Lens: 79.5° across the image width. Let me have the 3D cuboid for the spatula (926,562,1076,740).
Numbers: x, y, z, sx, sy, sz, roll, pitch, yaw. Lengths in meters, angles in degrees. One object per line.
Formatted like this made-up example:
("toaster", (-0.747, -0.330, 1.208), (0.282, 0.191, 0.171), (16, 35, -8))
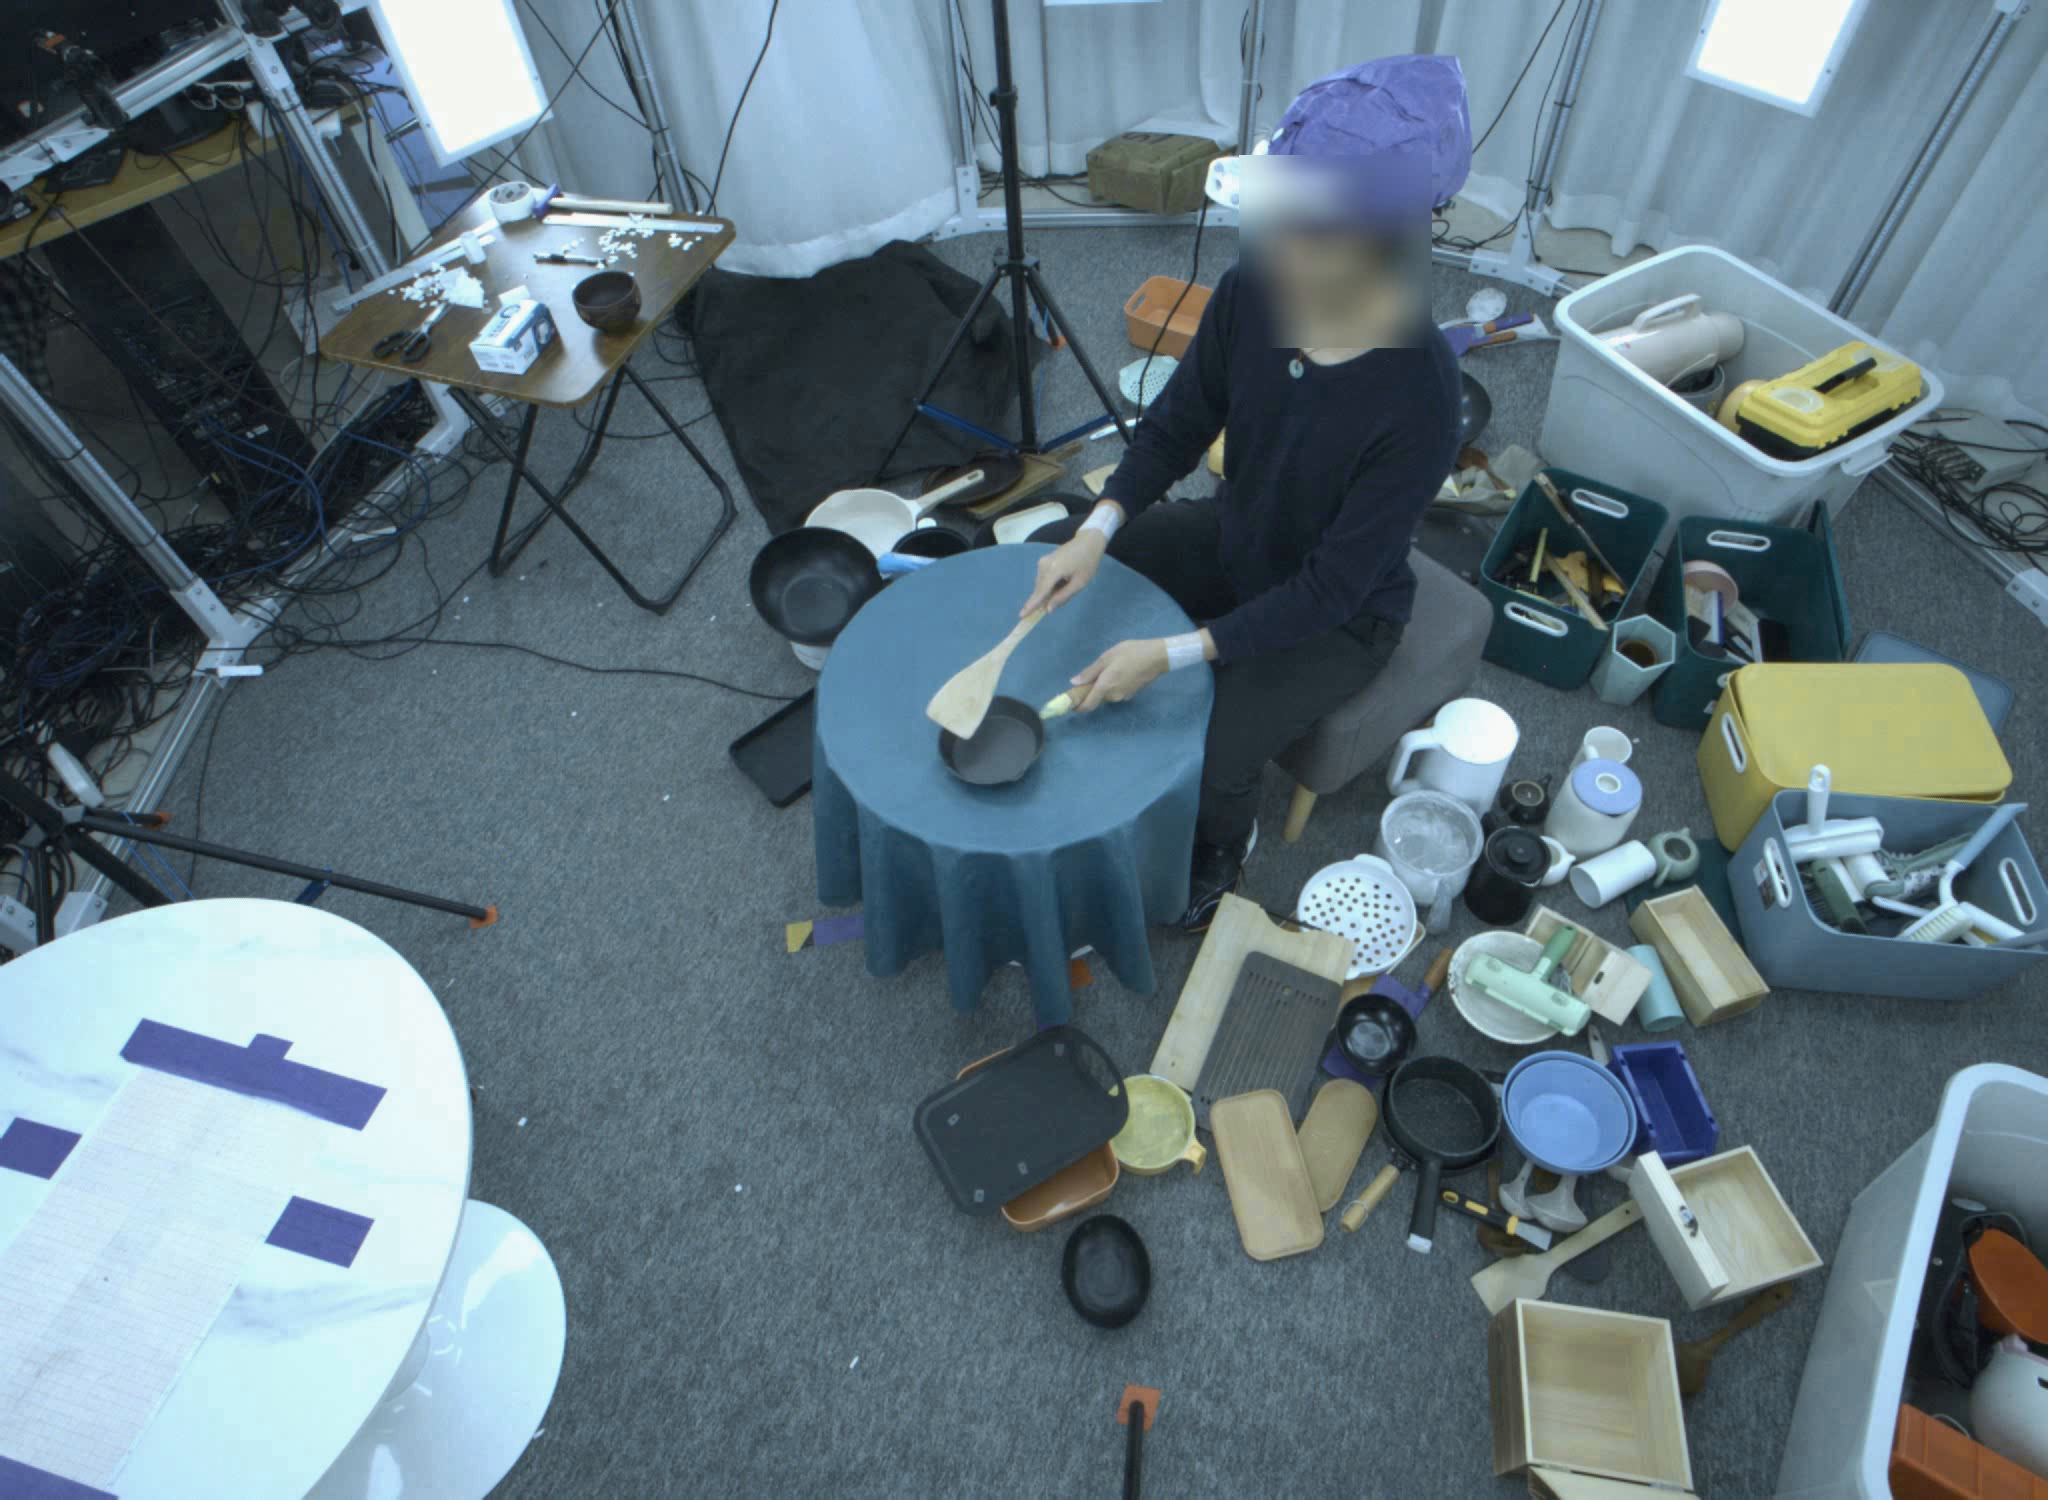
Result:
("spatula", (-0.021, -0.150, 1.777), (0.081, 0.016, 0.328), (44, 72, -20))

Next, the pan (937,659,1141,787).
("pan", (0.030, -0.049, 1.778), (0.326, 0.050, 0.165), (-26, 55, -10))
